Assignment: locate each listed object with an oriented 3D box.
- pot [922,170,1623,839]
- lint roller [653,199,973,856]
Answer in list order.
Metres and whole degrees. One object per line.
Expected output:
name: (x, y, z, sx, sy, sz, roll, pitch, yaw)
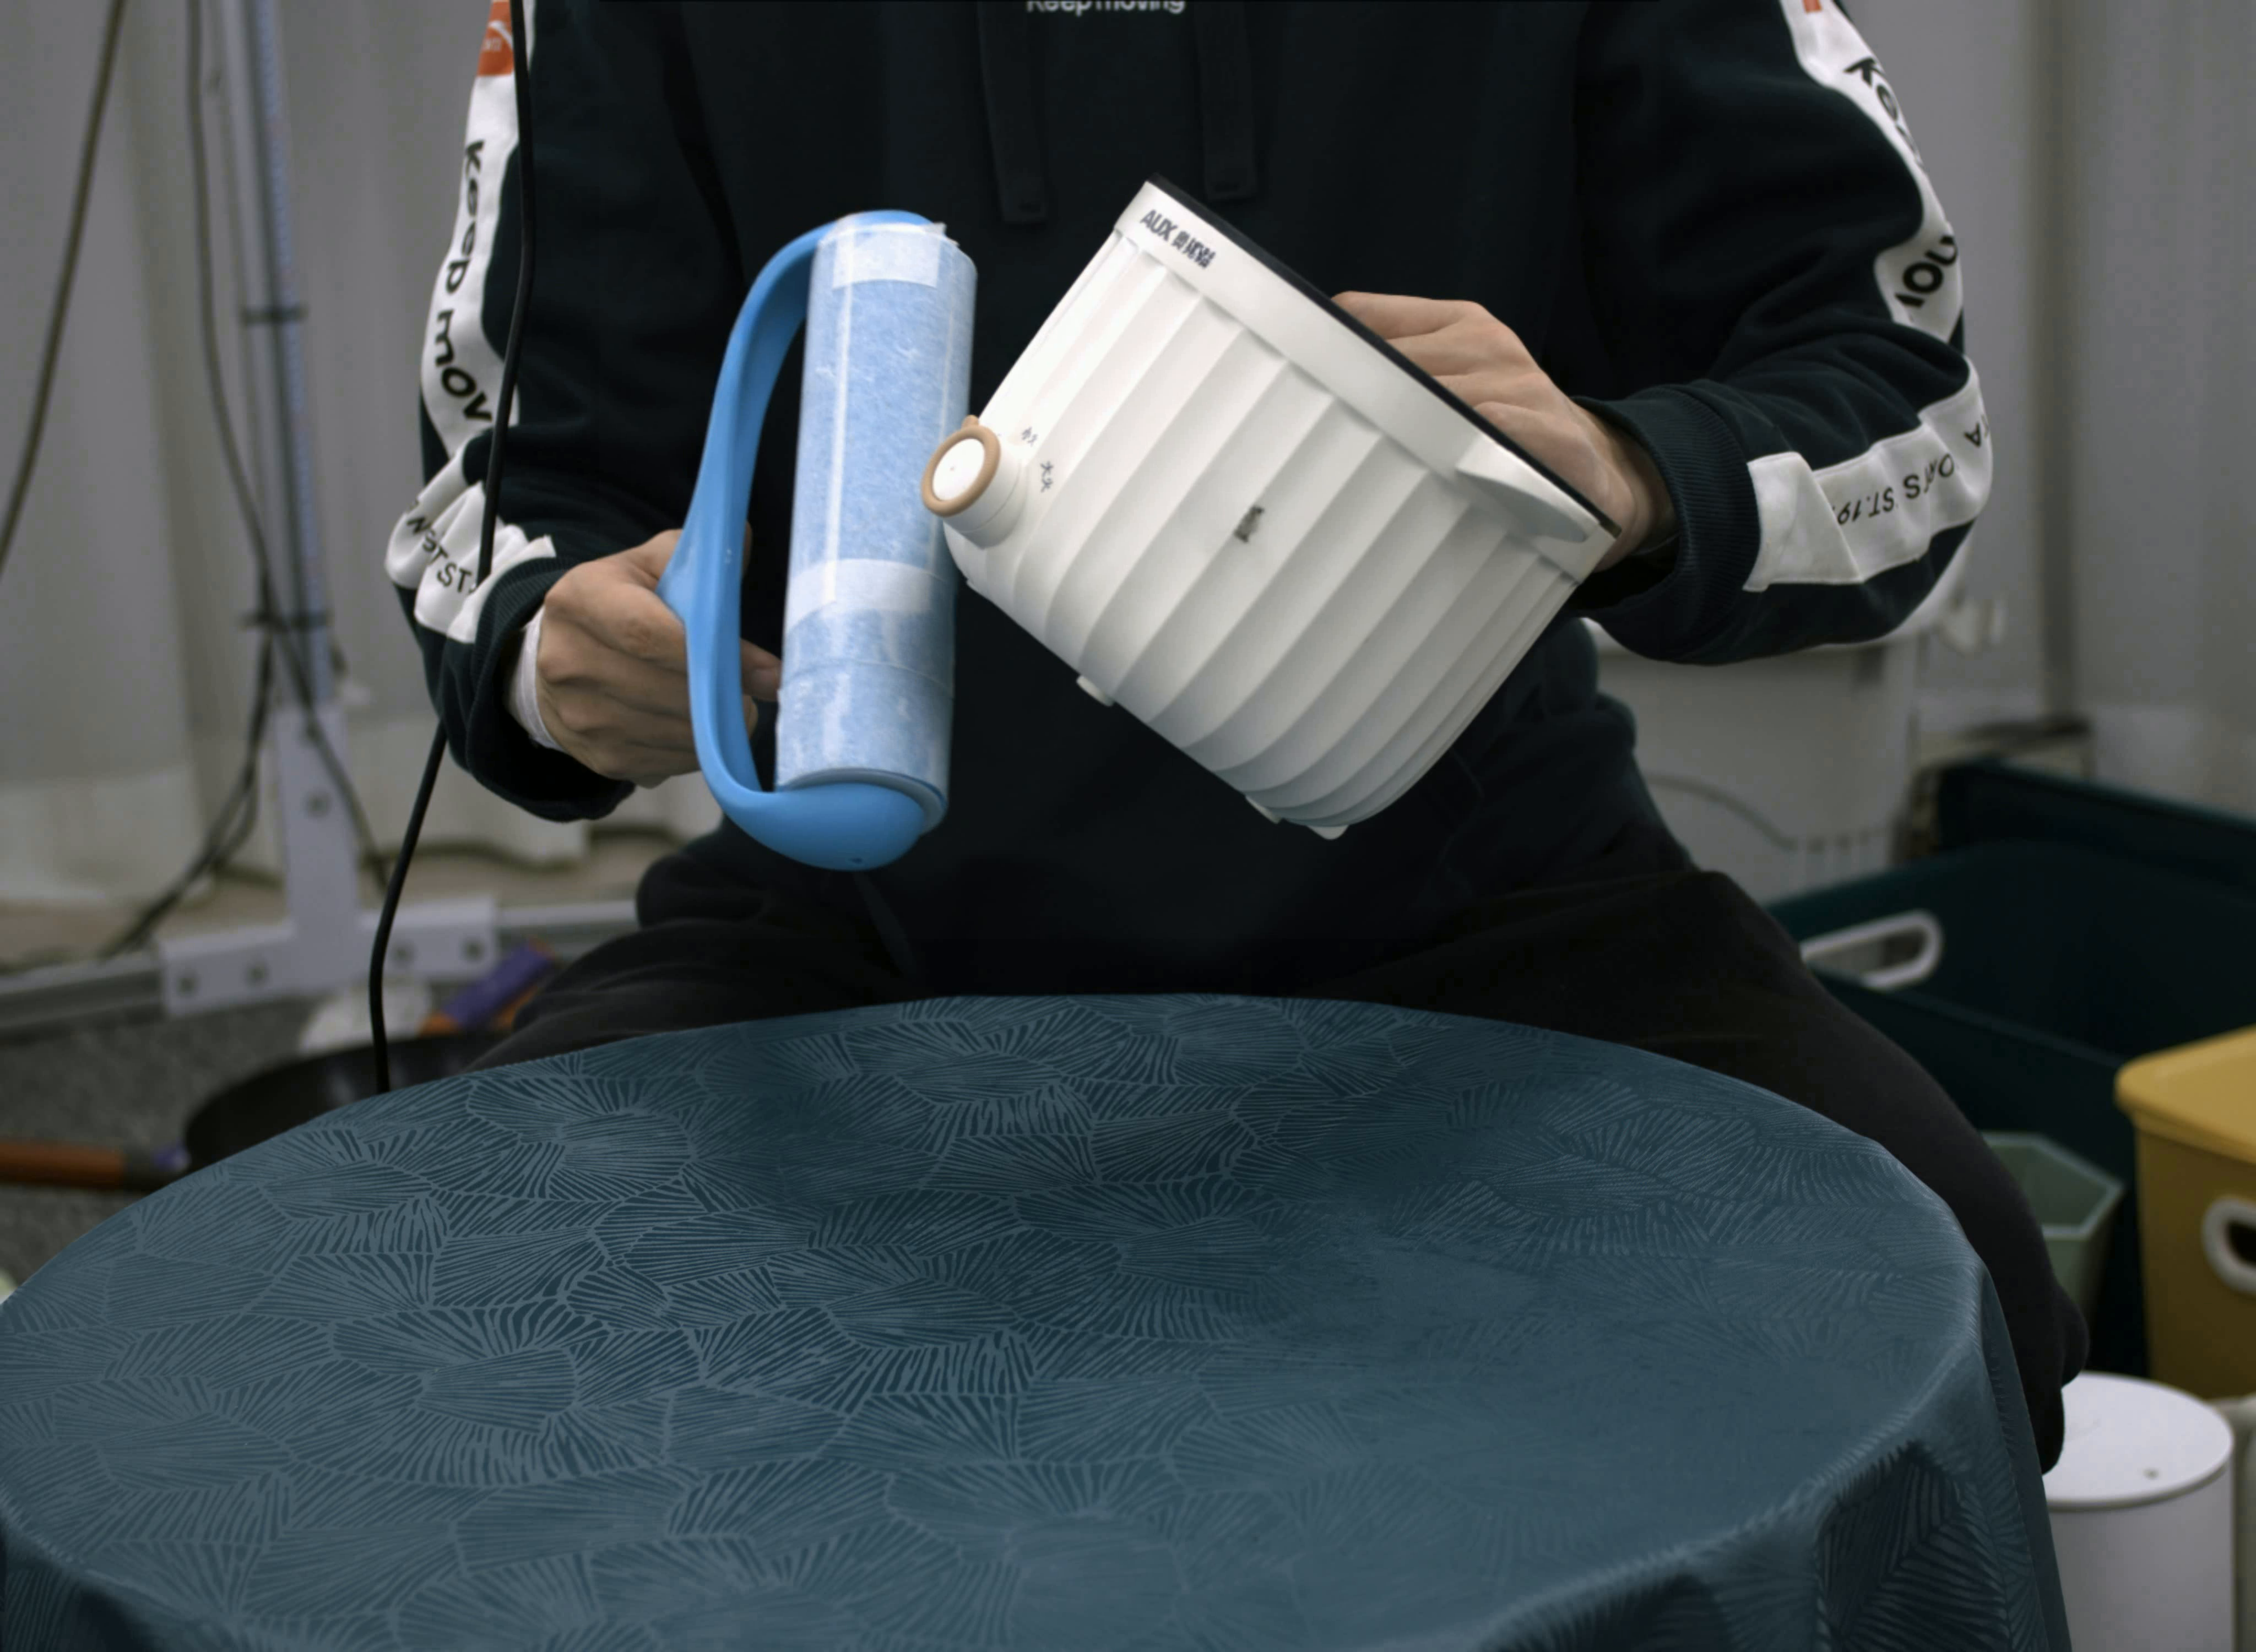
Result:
pot: (0.036, -0.094, 1.675, 0.188, 0.142, 0.243, 38, 2, -38)
lint roller: (-0.115, -0.073, 1.747, 0.067, 0.232, 0.179, 20, -35, -33)
